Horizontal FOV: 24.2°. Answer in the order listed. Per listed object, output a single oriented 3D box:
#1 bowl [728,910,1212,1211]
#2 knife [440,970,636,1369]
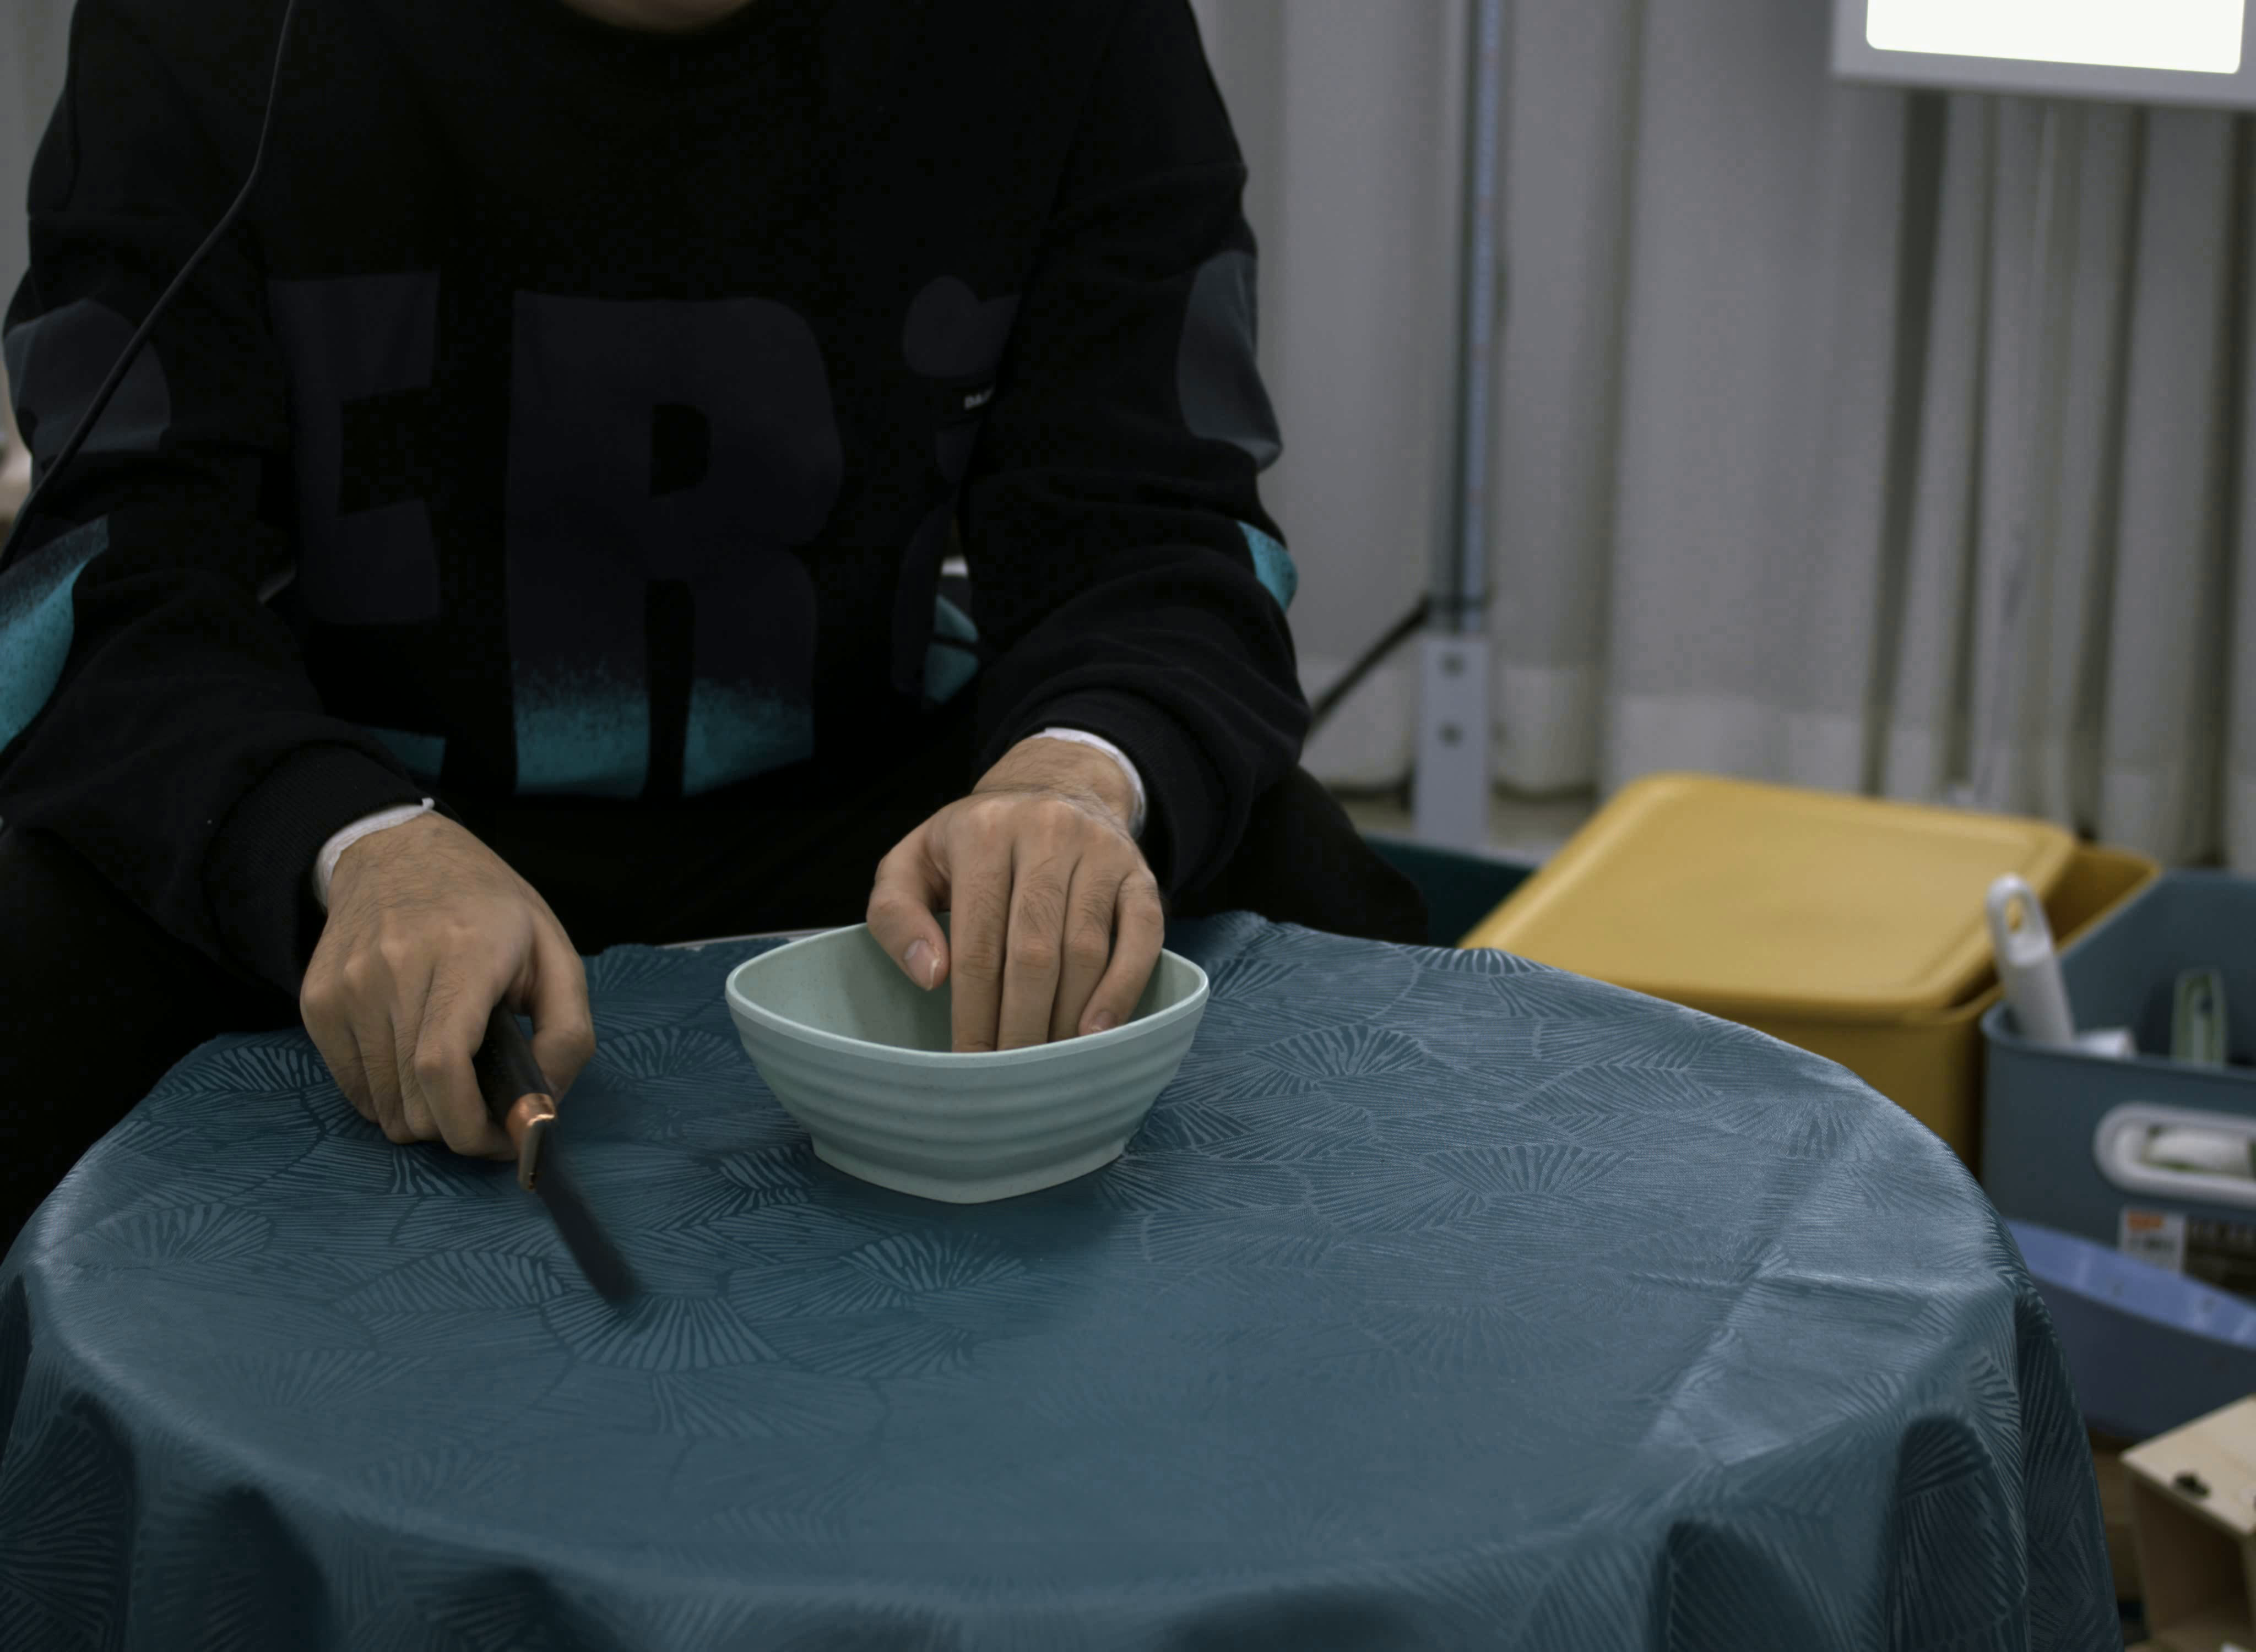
[{"bbox_3d":[-0.049,0.076,1.648,0.151,0.059,0.150,0,17,1],"label":"bowl"},{"bbox_3d":[-0.177,0.100,1.592,0.017,0.026,0.222,18,18,-29],"label":"knife"}]
